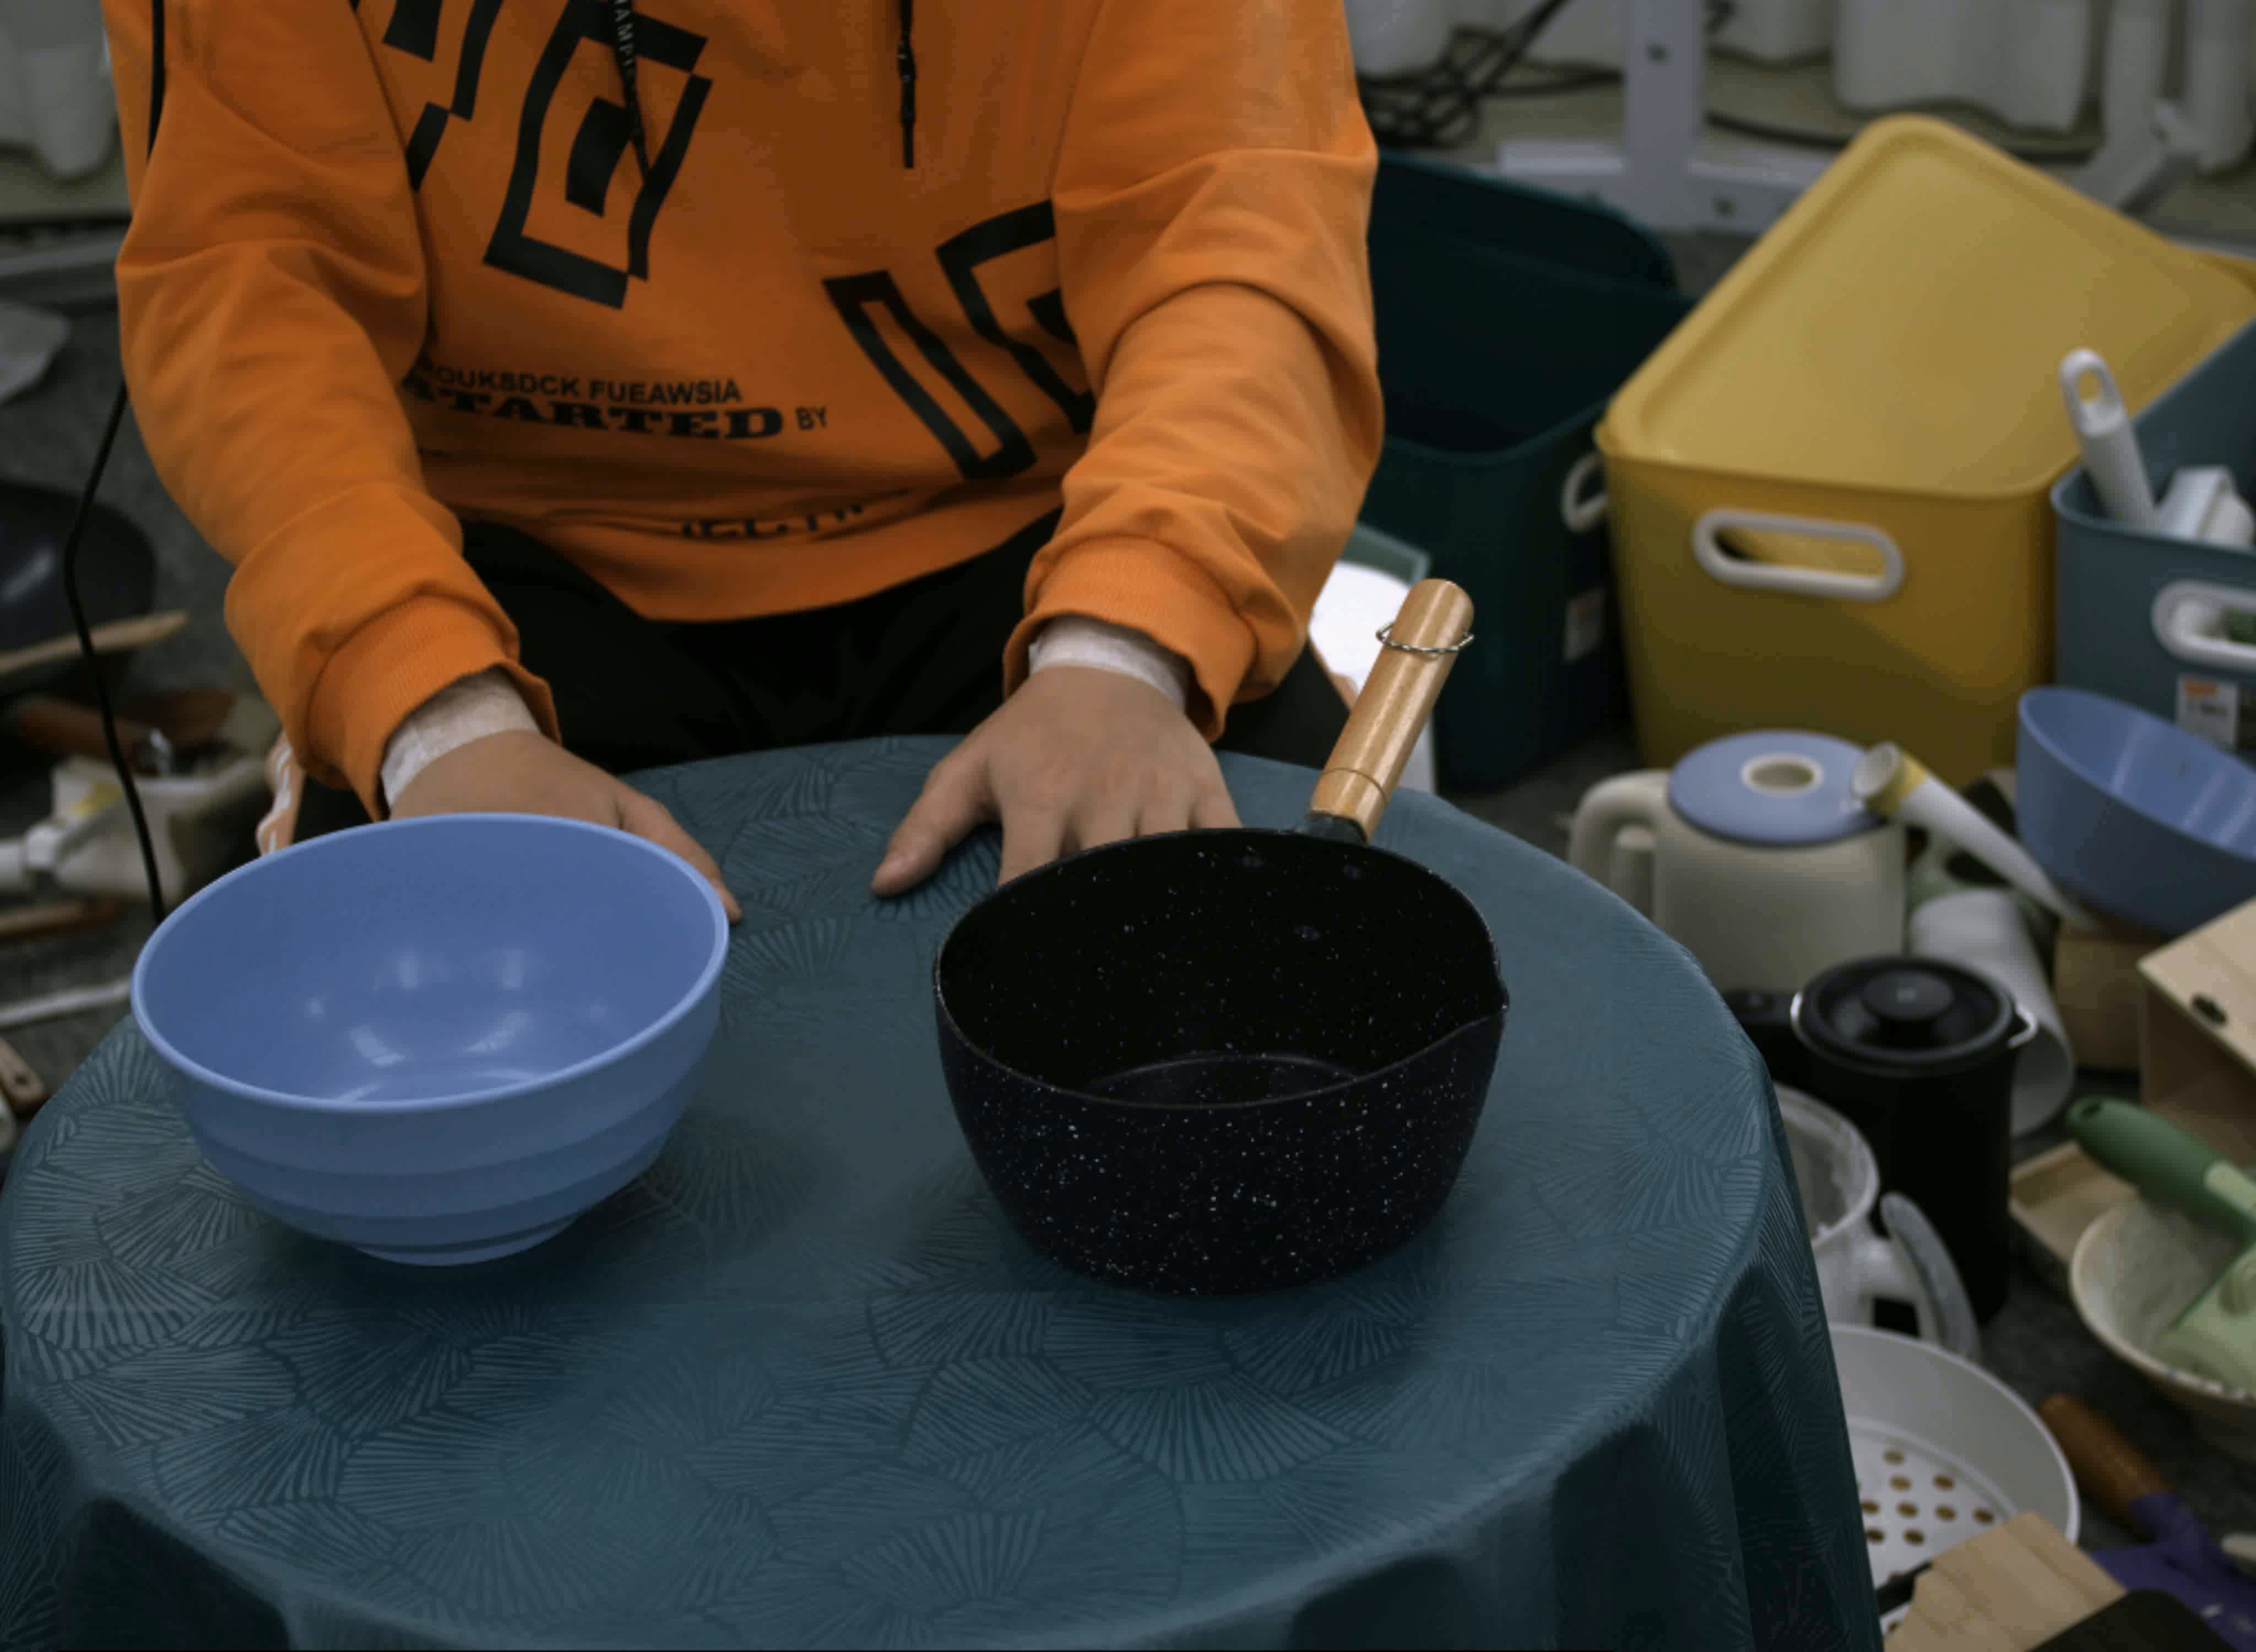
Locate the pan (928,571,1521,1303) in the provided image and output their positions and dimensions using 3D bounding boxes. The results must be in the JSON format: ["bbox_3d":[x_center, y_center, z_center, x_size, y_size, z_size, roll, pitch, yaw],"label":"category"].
[{"bbox_3d":[0.056,0.034,1.909,0.206,0.107,0.349,6,30,19],"label":"pan"}]

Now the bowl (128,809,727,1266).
[{"bbox_3d":[-0.226,0.082,1.858,0.195,0.094,0.199,-3,28,2],"label":"bowl"}]
